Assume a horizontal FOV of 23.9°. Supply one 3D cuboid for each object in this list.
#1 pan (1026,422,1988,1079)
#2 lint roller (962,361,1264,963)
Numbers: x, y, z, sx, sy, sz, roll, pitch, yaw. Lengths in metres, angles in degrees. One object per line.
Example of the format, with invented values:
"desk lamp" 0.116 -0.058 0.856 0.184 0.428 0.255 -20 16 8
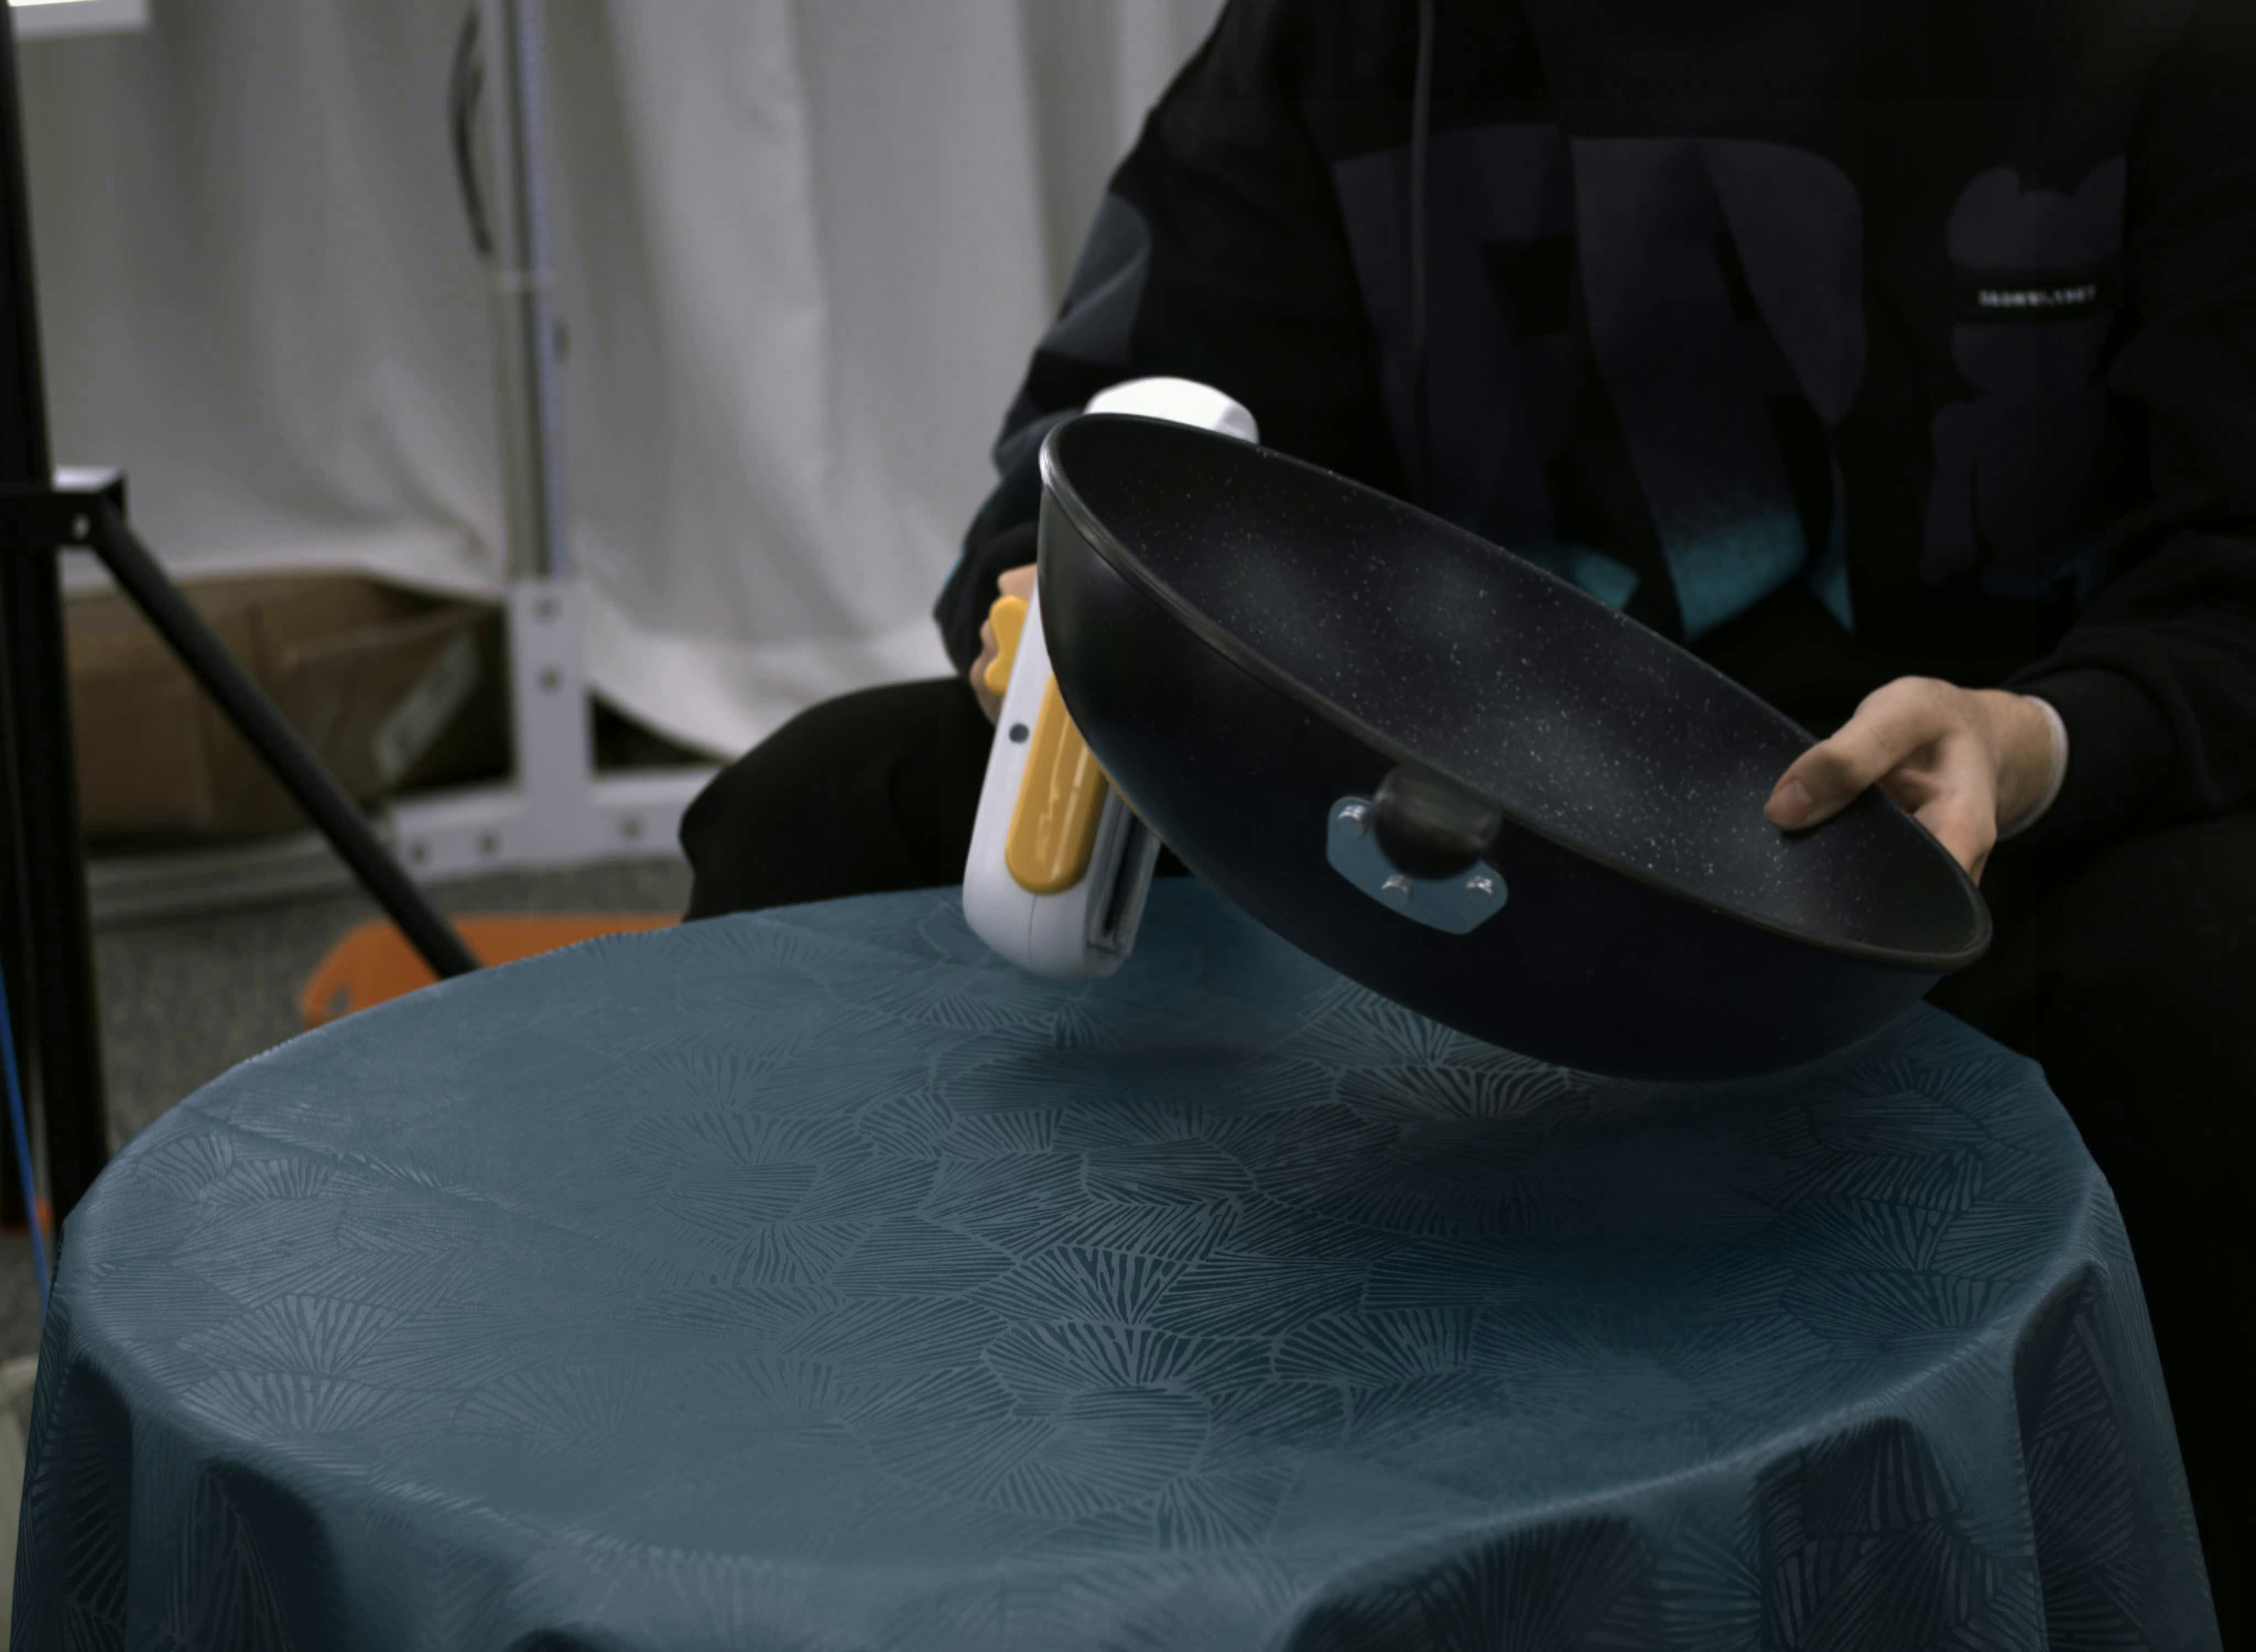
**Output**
"pan" 0.085 -0.001 1.464 0.311 0.112 0.474 27 15 4
"lint roller" -0.004 -0.045 1.739 0.074 0.194 0.191 11 -7 8
